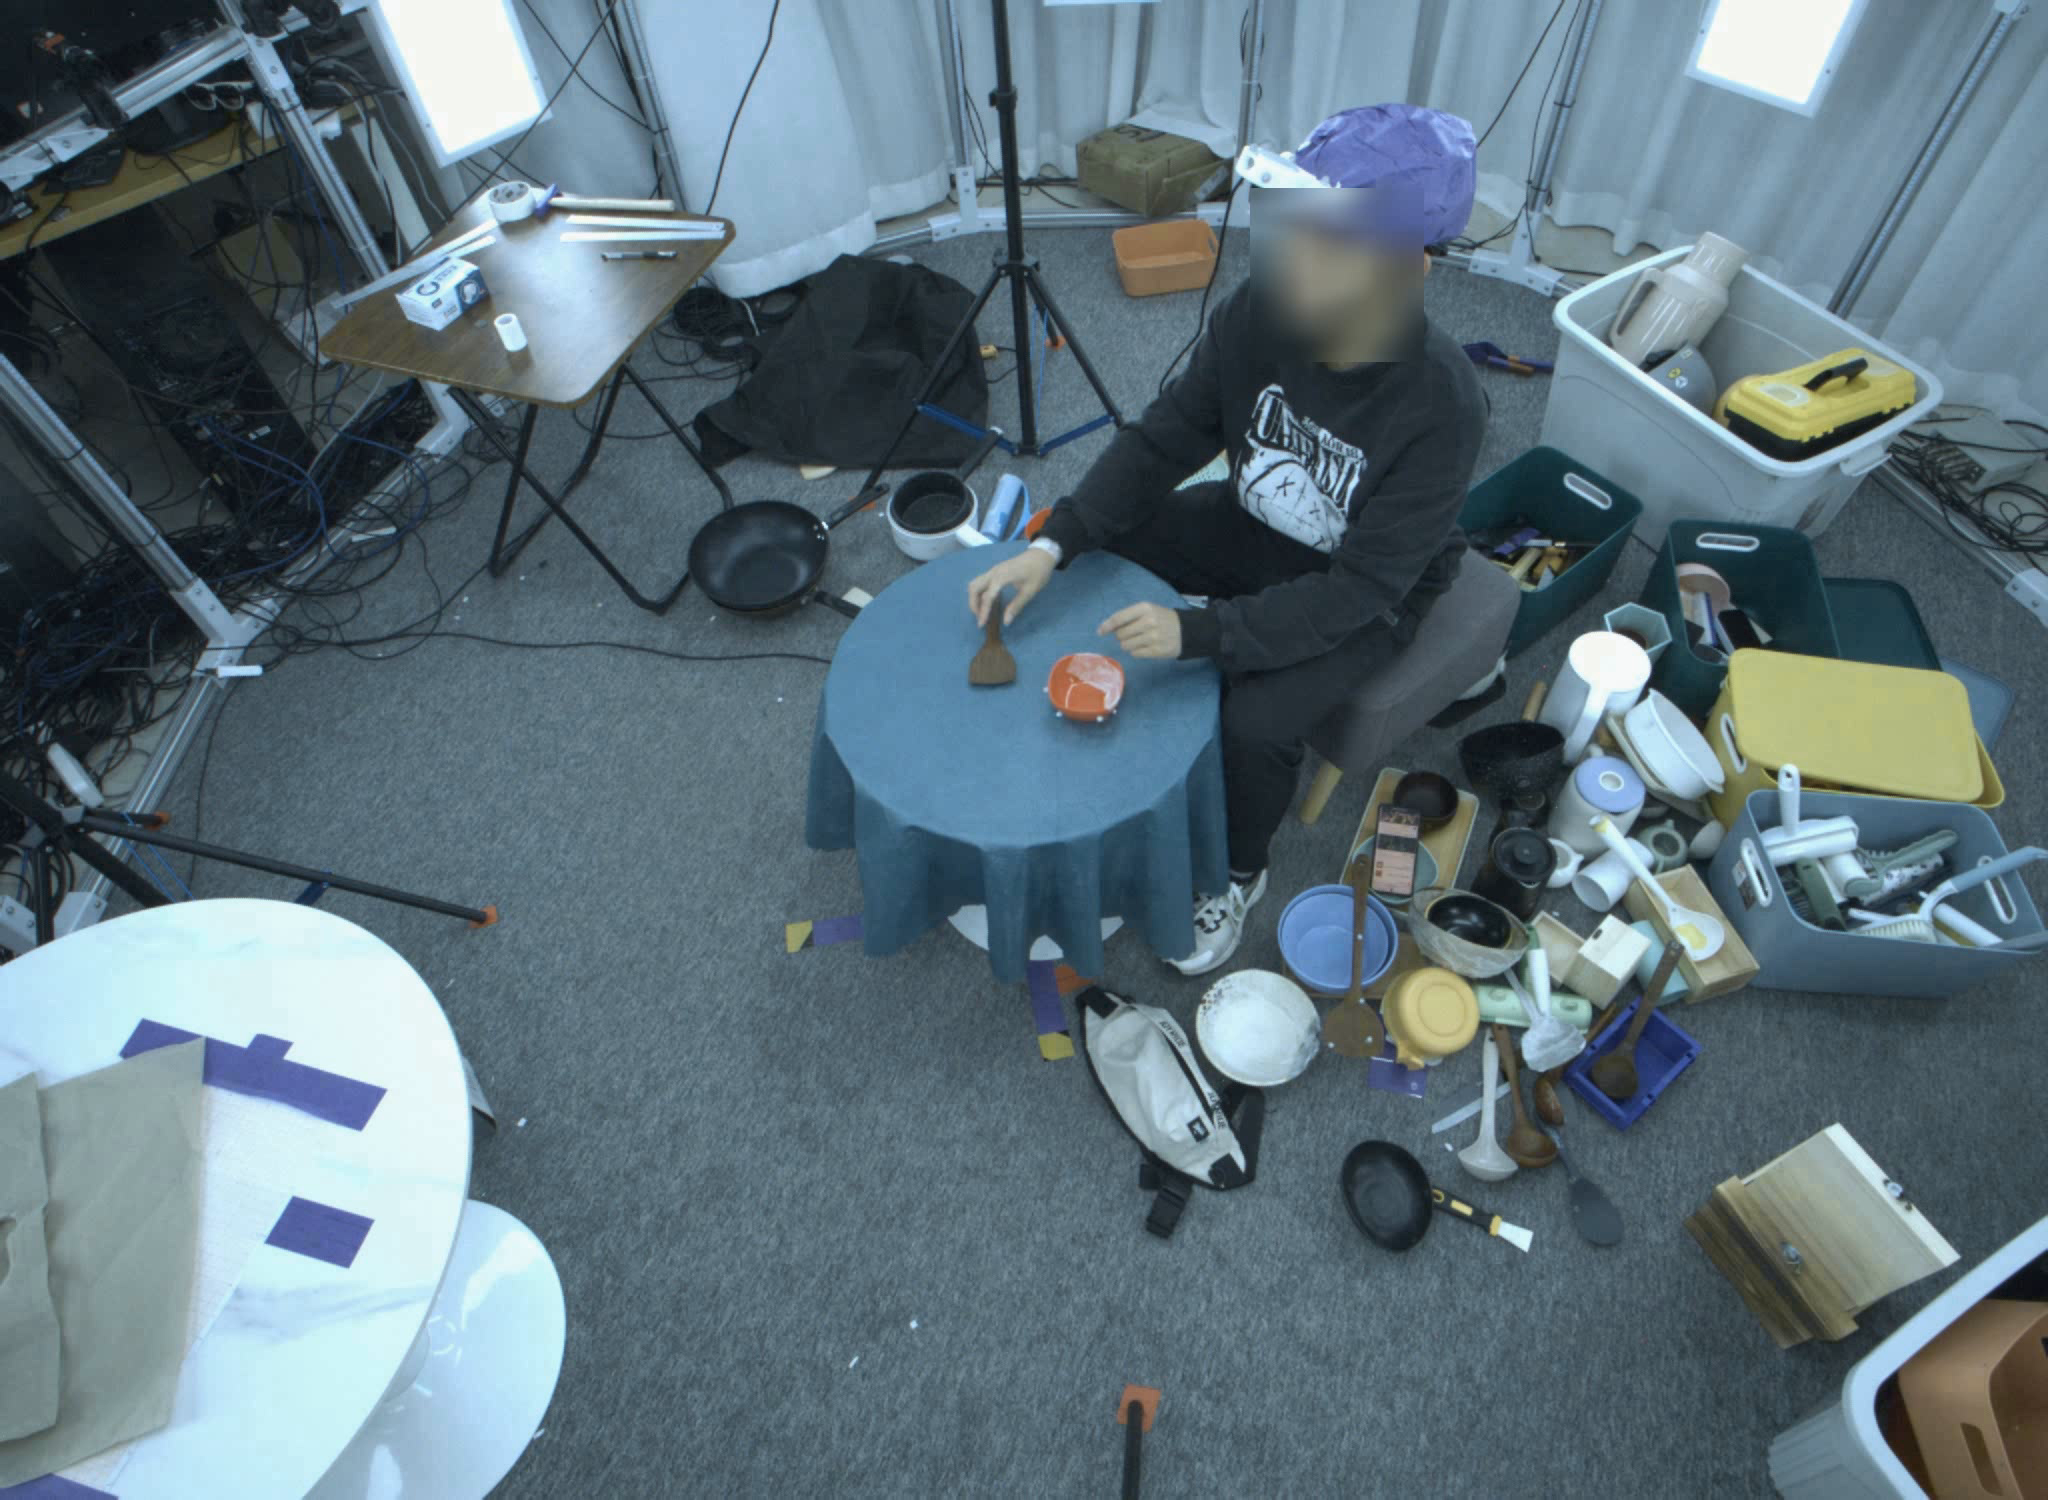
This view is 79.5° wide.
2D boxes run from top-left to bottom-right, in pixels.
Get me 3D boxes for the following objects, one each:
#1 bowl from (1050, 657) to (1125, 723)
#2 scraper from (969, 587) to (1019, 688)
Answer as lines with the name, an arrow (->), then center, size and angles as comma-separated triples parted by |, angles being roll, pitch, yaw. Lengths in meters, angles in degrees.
bowl -> 0.096, -0.081, 1.825 | 0.118, 0.052, 0.118 | -3, 55, 5
scraper -> -0.047, -0.177, 1.919 | 0.076, 0.011, 0.209 | -1, 54, 0
